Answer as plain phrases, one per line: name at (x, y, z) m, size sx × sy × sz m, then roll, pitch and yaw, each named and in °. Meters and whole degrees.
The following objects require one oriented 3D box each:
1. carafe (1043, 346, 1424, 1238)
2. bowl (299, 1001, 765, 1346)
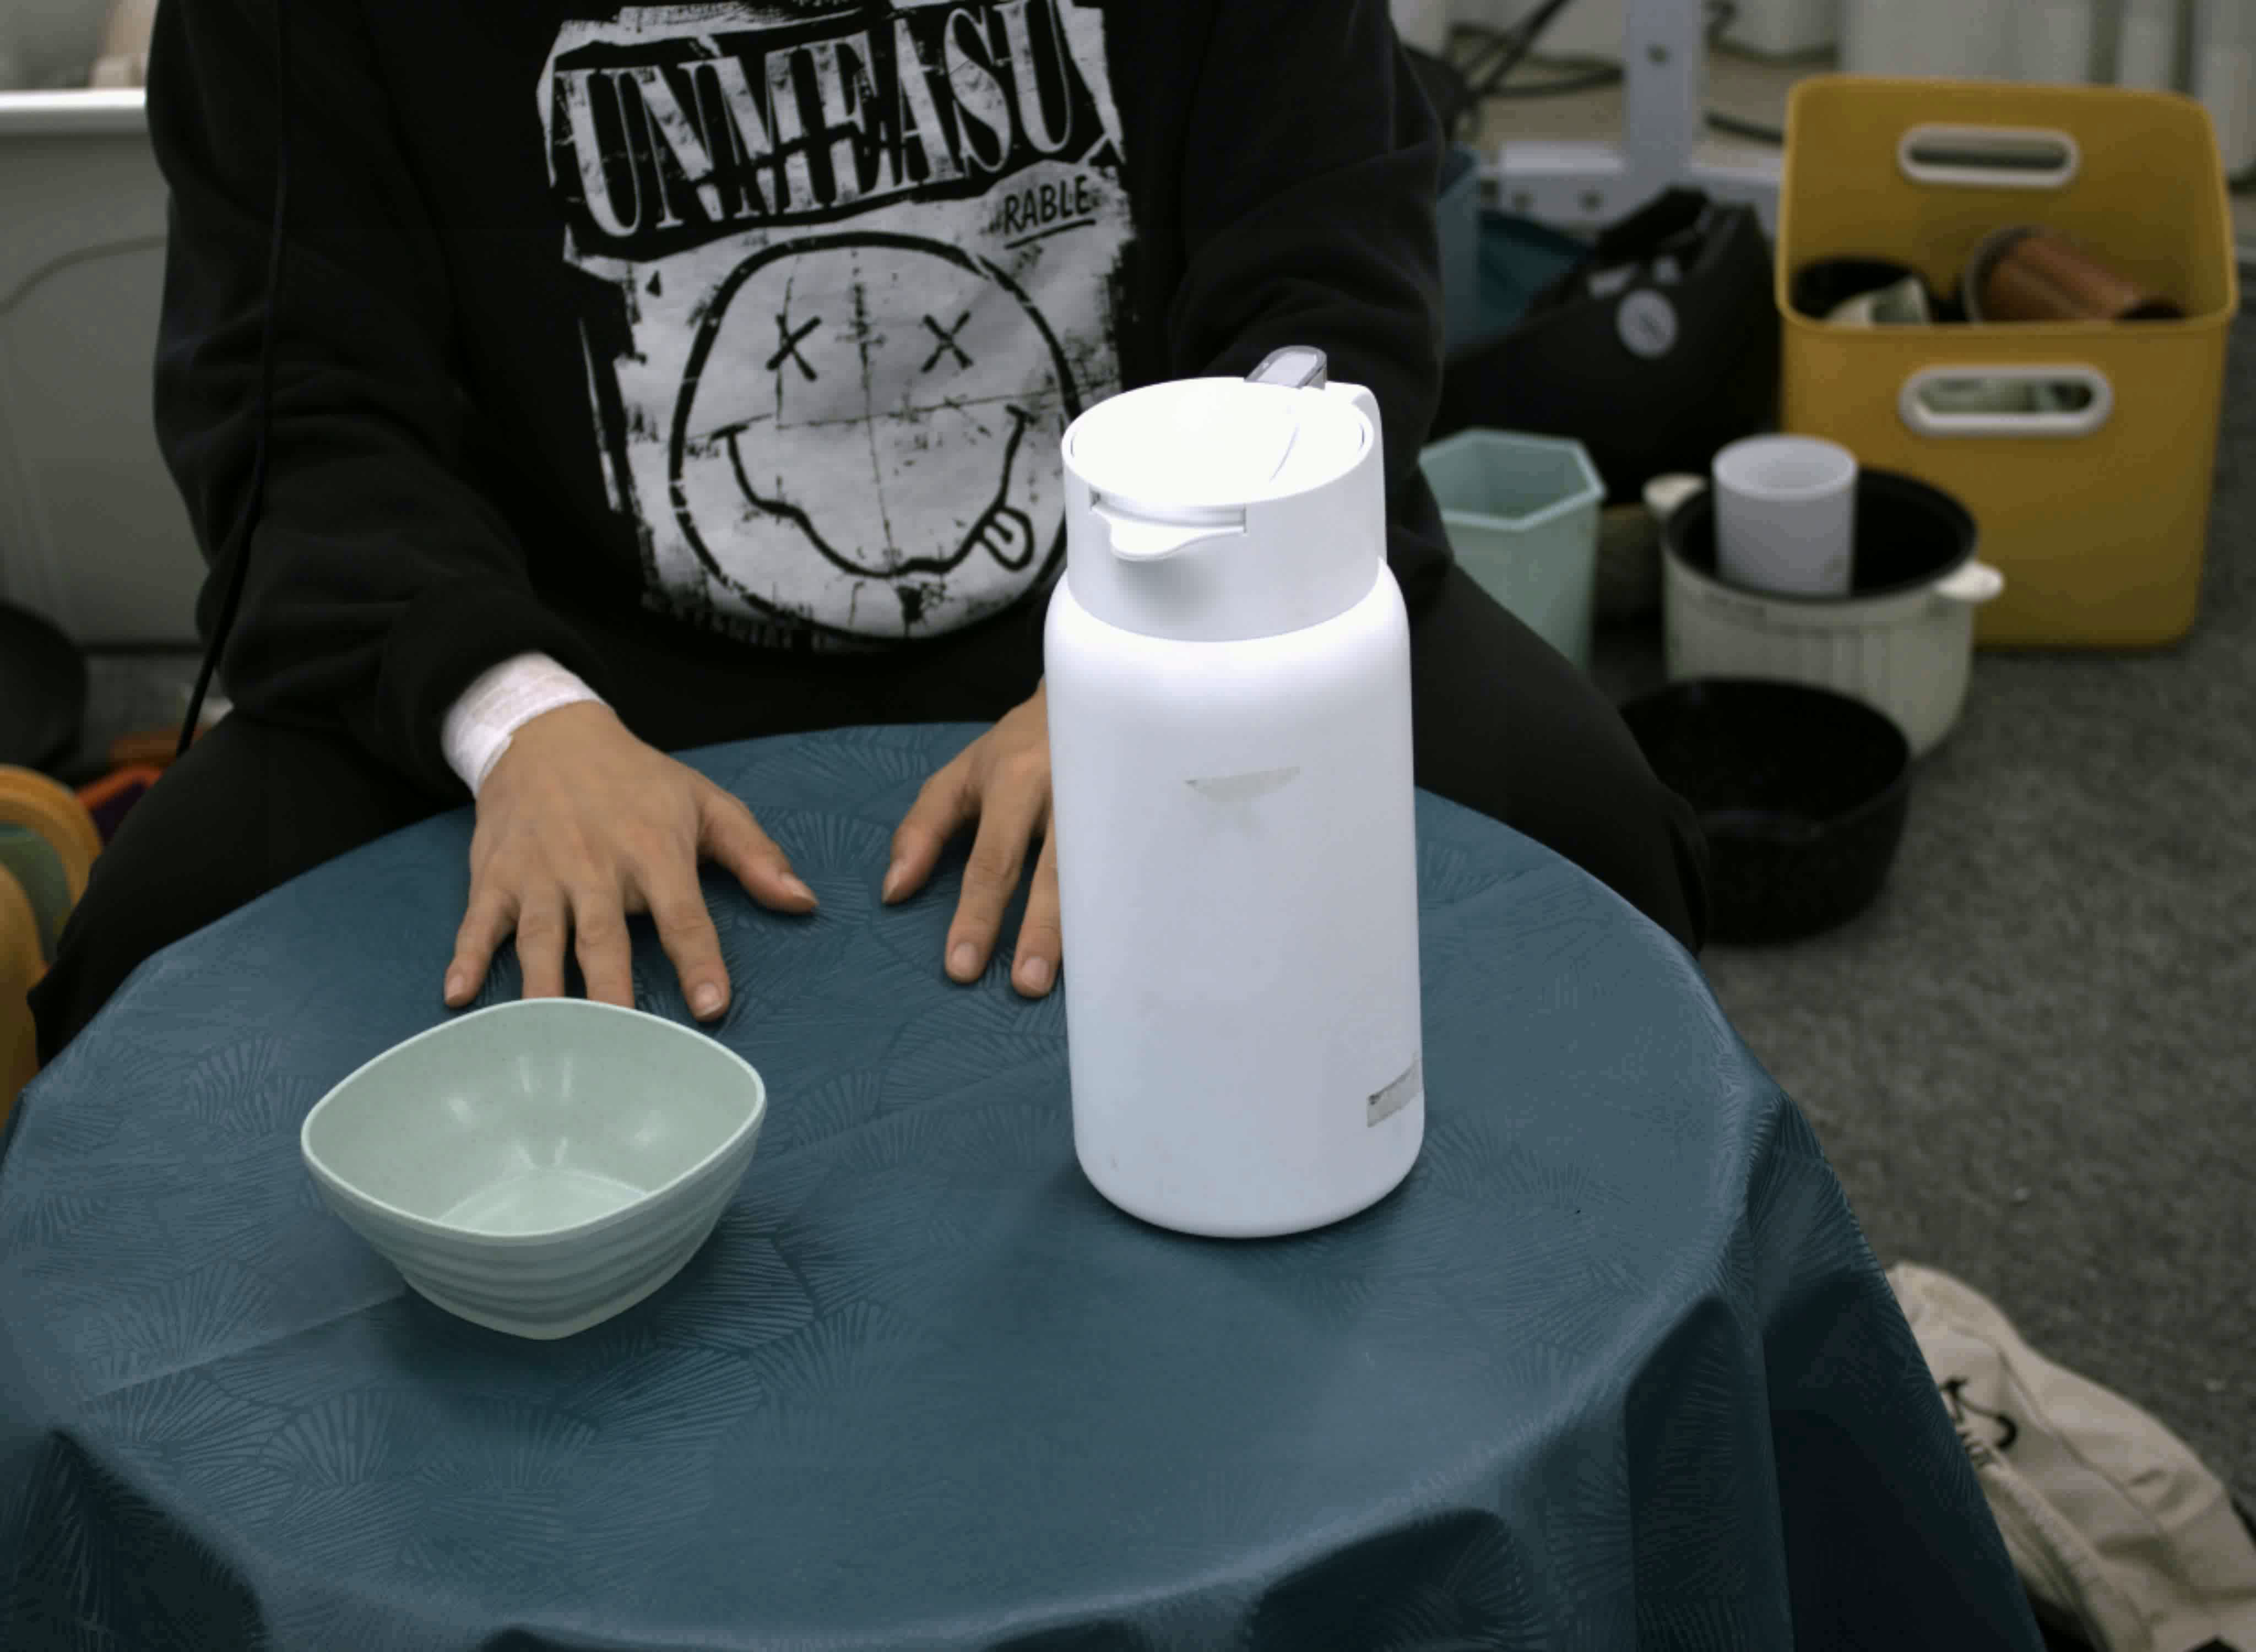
carafe at (0.039, -0.015, 1.832) m, size 0.123 × 0.266 × 0.176 m, roll 6°, pitch 28°, yaw 22°
bowl at (-0.191, 0.119, 1.825) m, size 0.151 × 0.058 × 0.154 m, roll -2°, pitch 27°, yaw 1°
